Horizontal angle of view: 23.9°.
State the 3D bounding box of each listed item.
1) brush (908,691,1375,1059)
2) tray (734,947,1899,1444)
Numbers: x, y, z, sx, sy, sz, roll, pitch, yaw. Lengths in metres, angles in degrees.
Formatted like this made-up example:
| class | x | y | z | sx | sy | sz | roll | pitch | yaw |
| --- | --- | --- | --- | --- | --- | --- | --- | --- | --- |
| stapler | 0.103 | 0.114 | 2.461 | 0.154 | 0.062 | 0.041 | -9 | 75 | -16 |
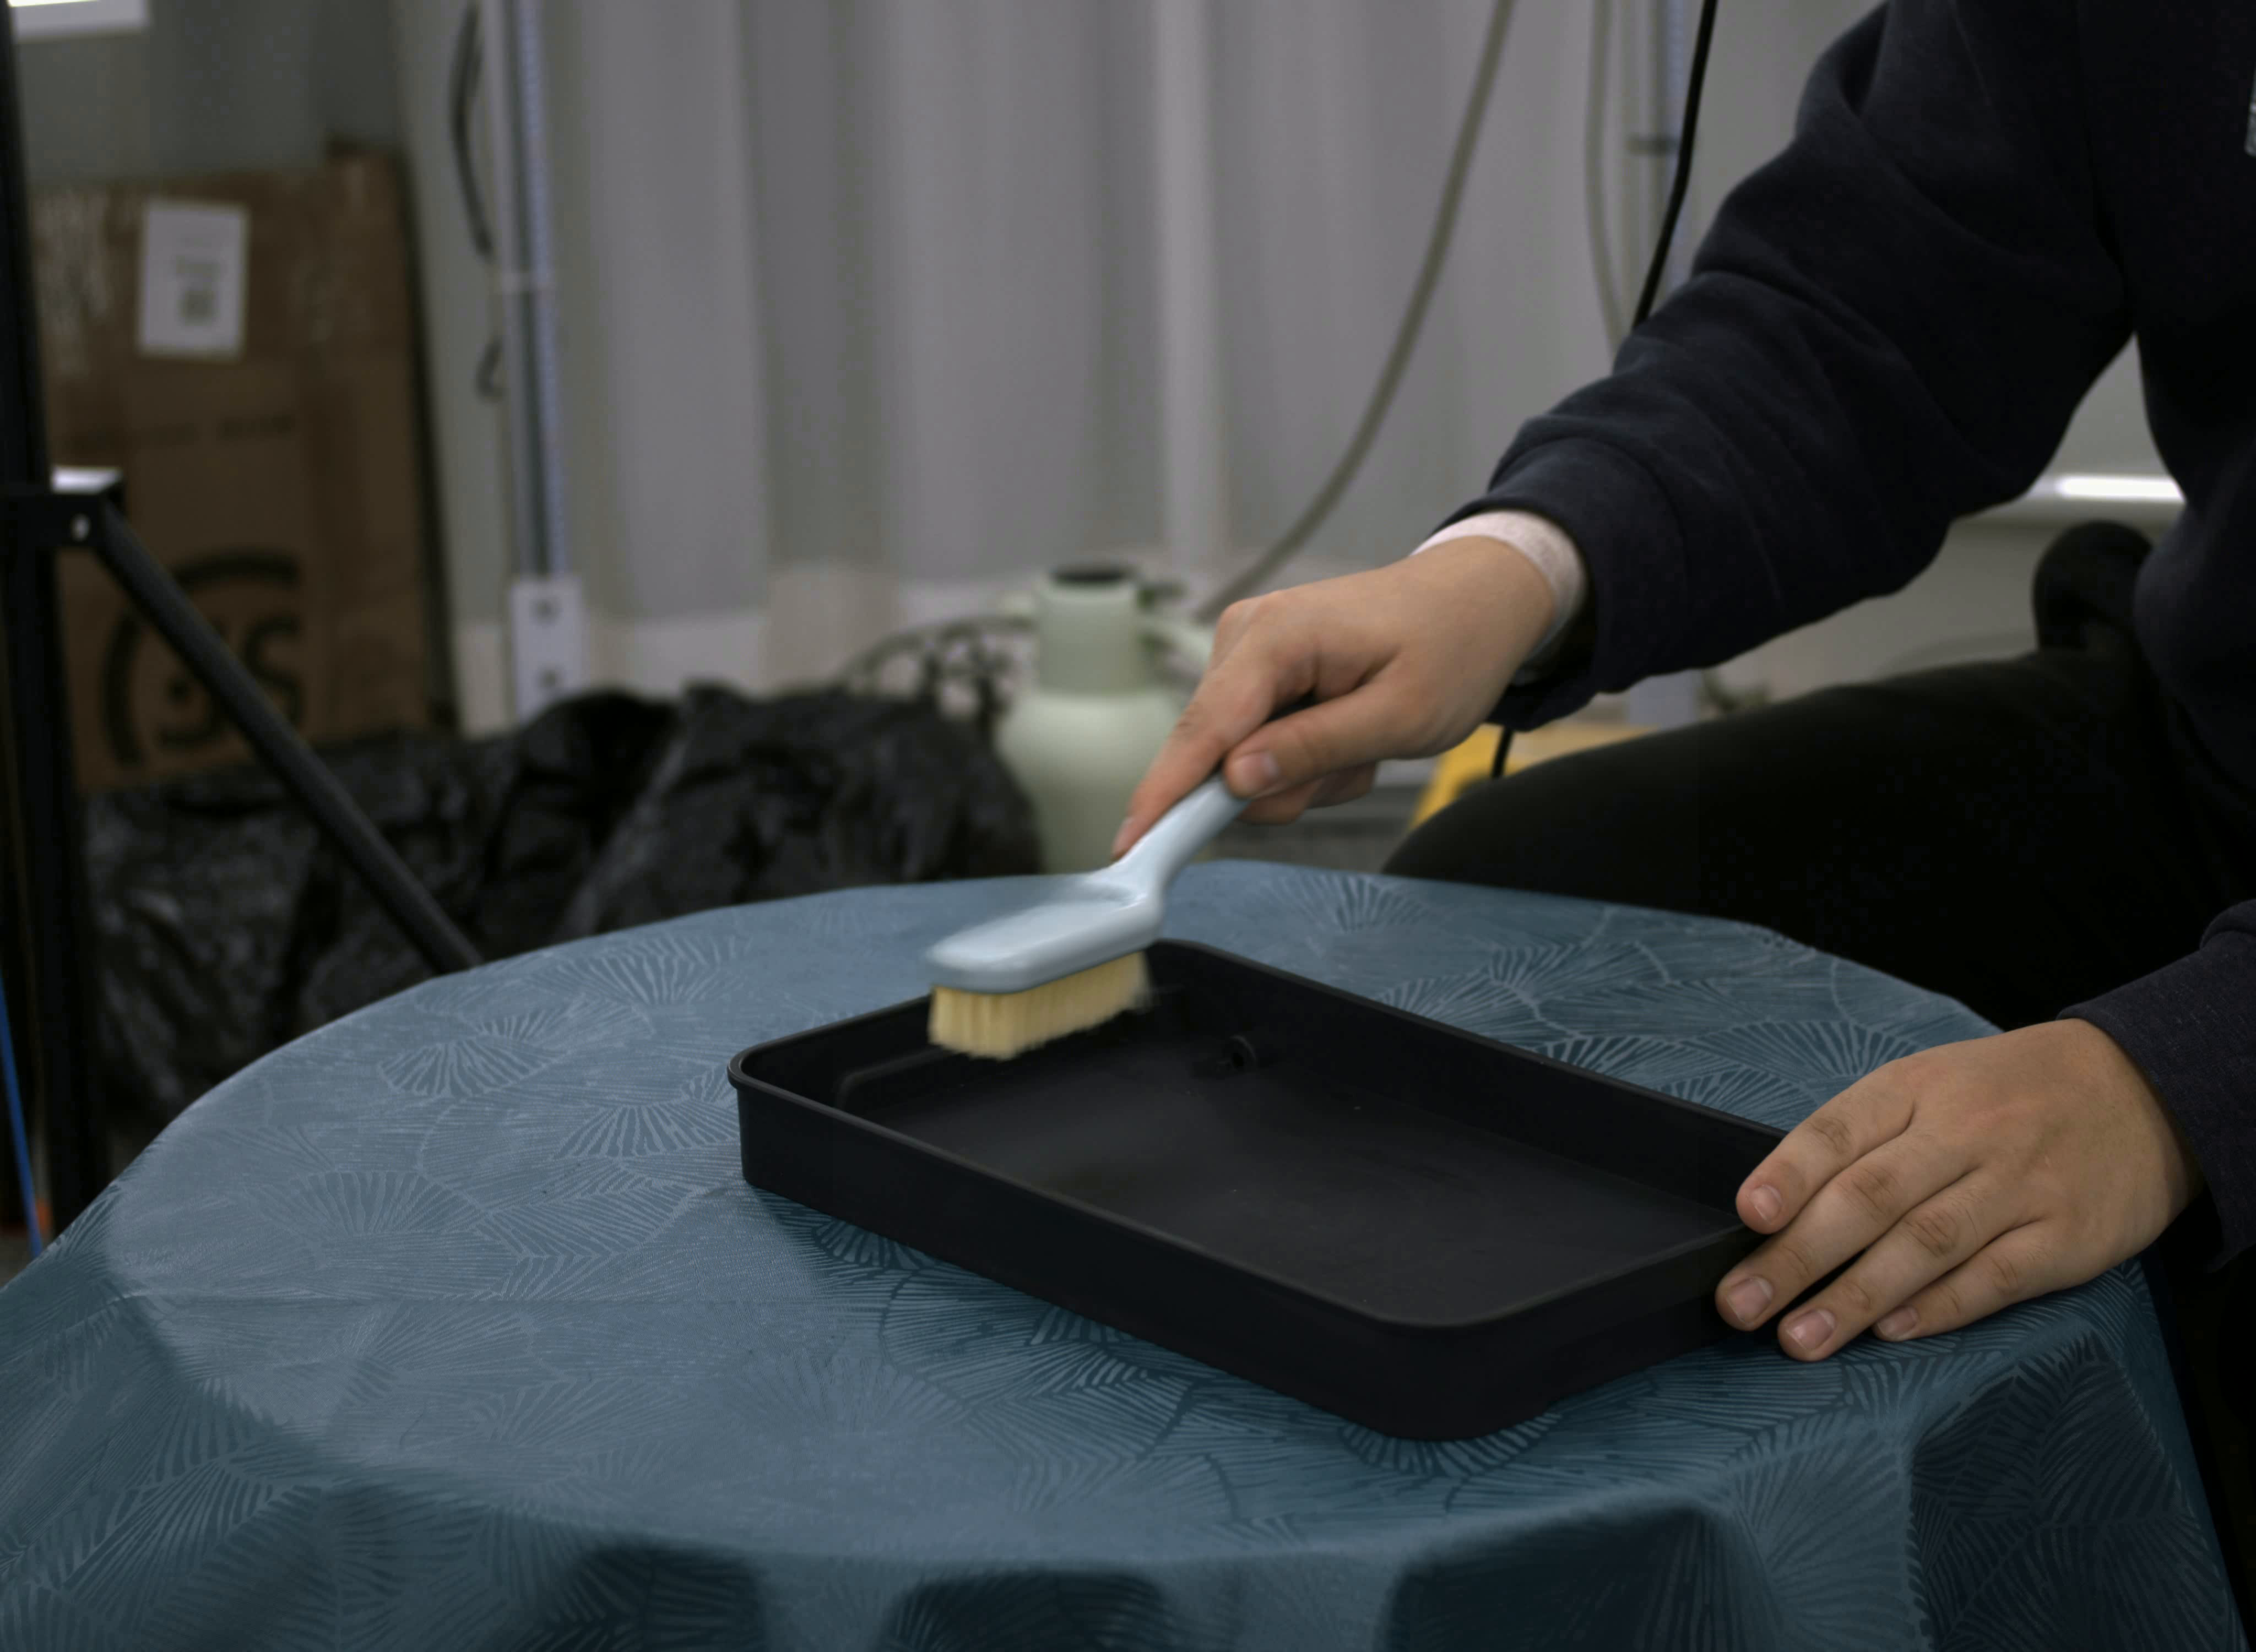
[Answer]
| class | x | y | z | sx | sy | sz | roll | pitch | yaw |
| --- | --- | --- | --- | --- | --- | --- | --- | --- | --- |
| brush | 0.008 | 0.014 | 1.615 | 0.038 | 0.049 | 0.225 | 13 | 32 | 31 |
| tray | 0.048 | 0.099 | 1.515 | 0.180 | 0.037 | 0.325 | -15 | 20 | -39 |
